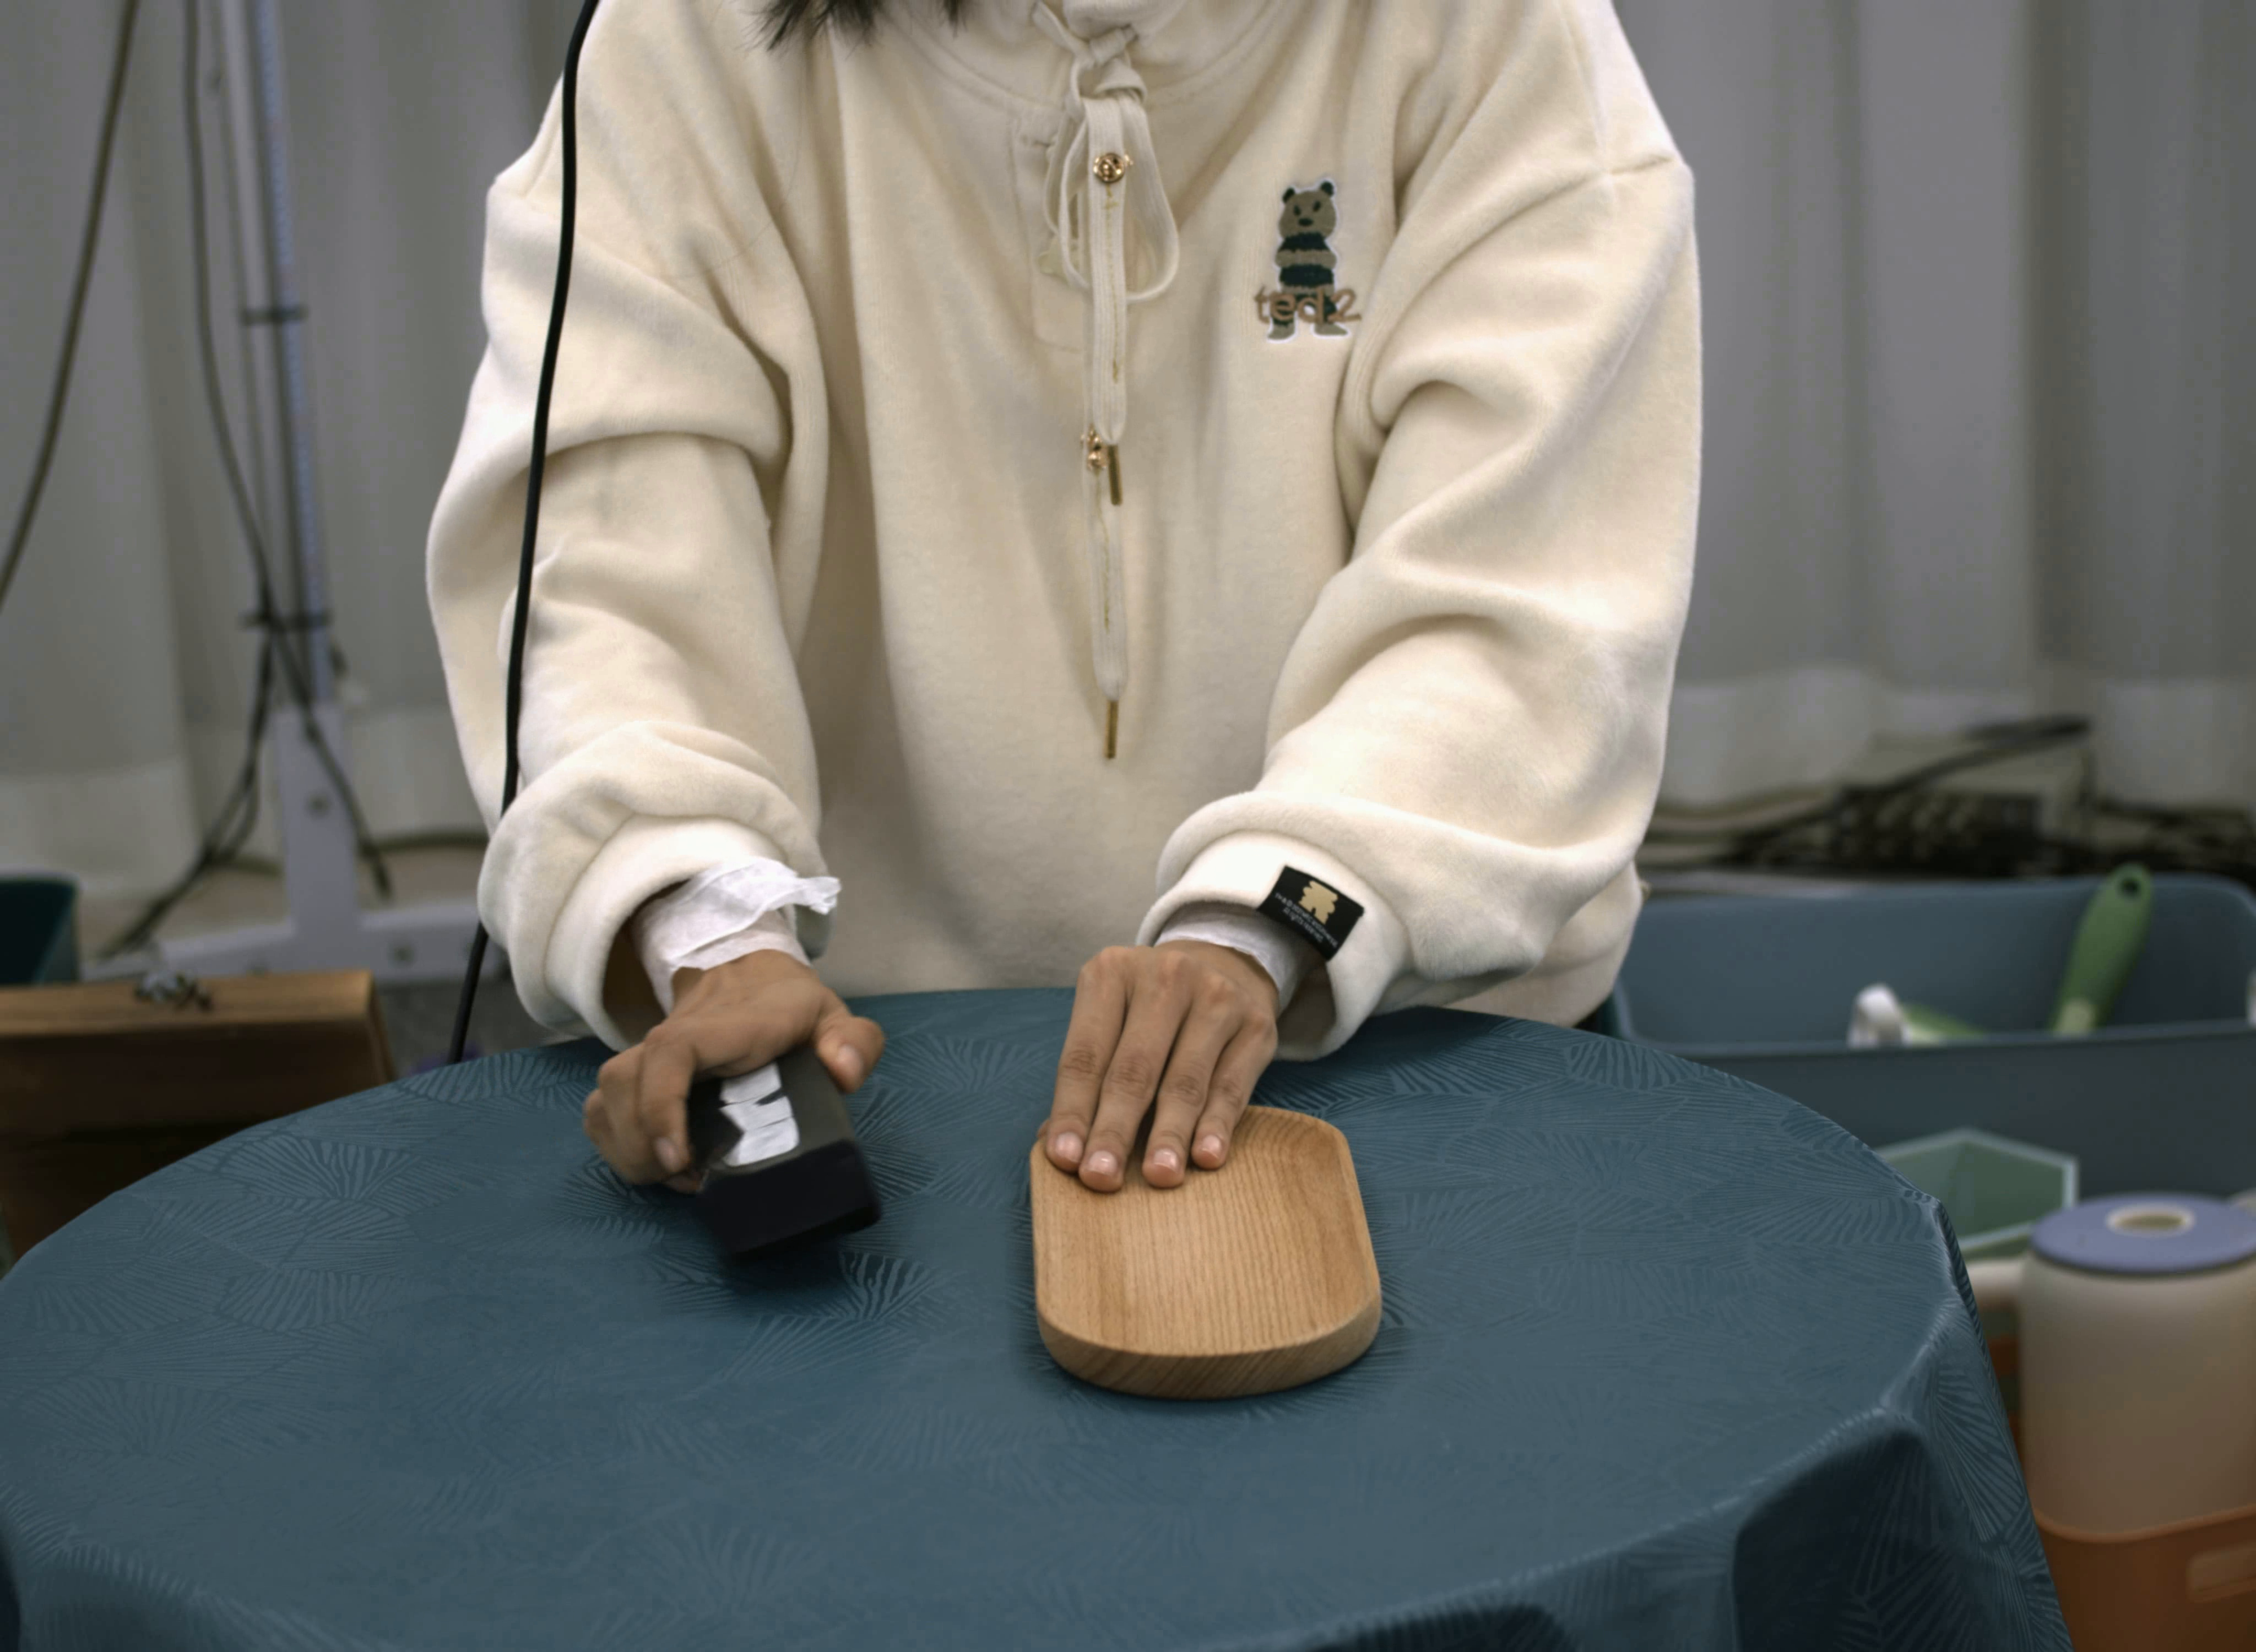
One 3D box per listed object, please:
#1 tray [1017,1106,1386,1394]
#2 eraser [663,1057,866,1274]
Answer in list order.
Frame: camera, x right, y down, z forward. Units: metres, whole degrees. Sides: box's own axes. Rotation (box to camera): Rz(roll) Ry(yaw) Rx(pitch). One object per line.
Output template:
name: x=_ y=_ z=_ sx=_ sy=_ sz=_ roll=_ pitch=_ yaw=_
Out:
tray: x=0.020 y=0.125 z=1.641 sx=0.101 sy=0.020 sz=0.232 roll=-3 pitch=13 yaw=-3
eraser: x=-0.112 y=0.104 z=1.690 sx=0.053 sy=0.030 sz=0.126 roll=-12 pitch=14 yaw=-6
